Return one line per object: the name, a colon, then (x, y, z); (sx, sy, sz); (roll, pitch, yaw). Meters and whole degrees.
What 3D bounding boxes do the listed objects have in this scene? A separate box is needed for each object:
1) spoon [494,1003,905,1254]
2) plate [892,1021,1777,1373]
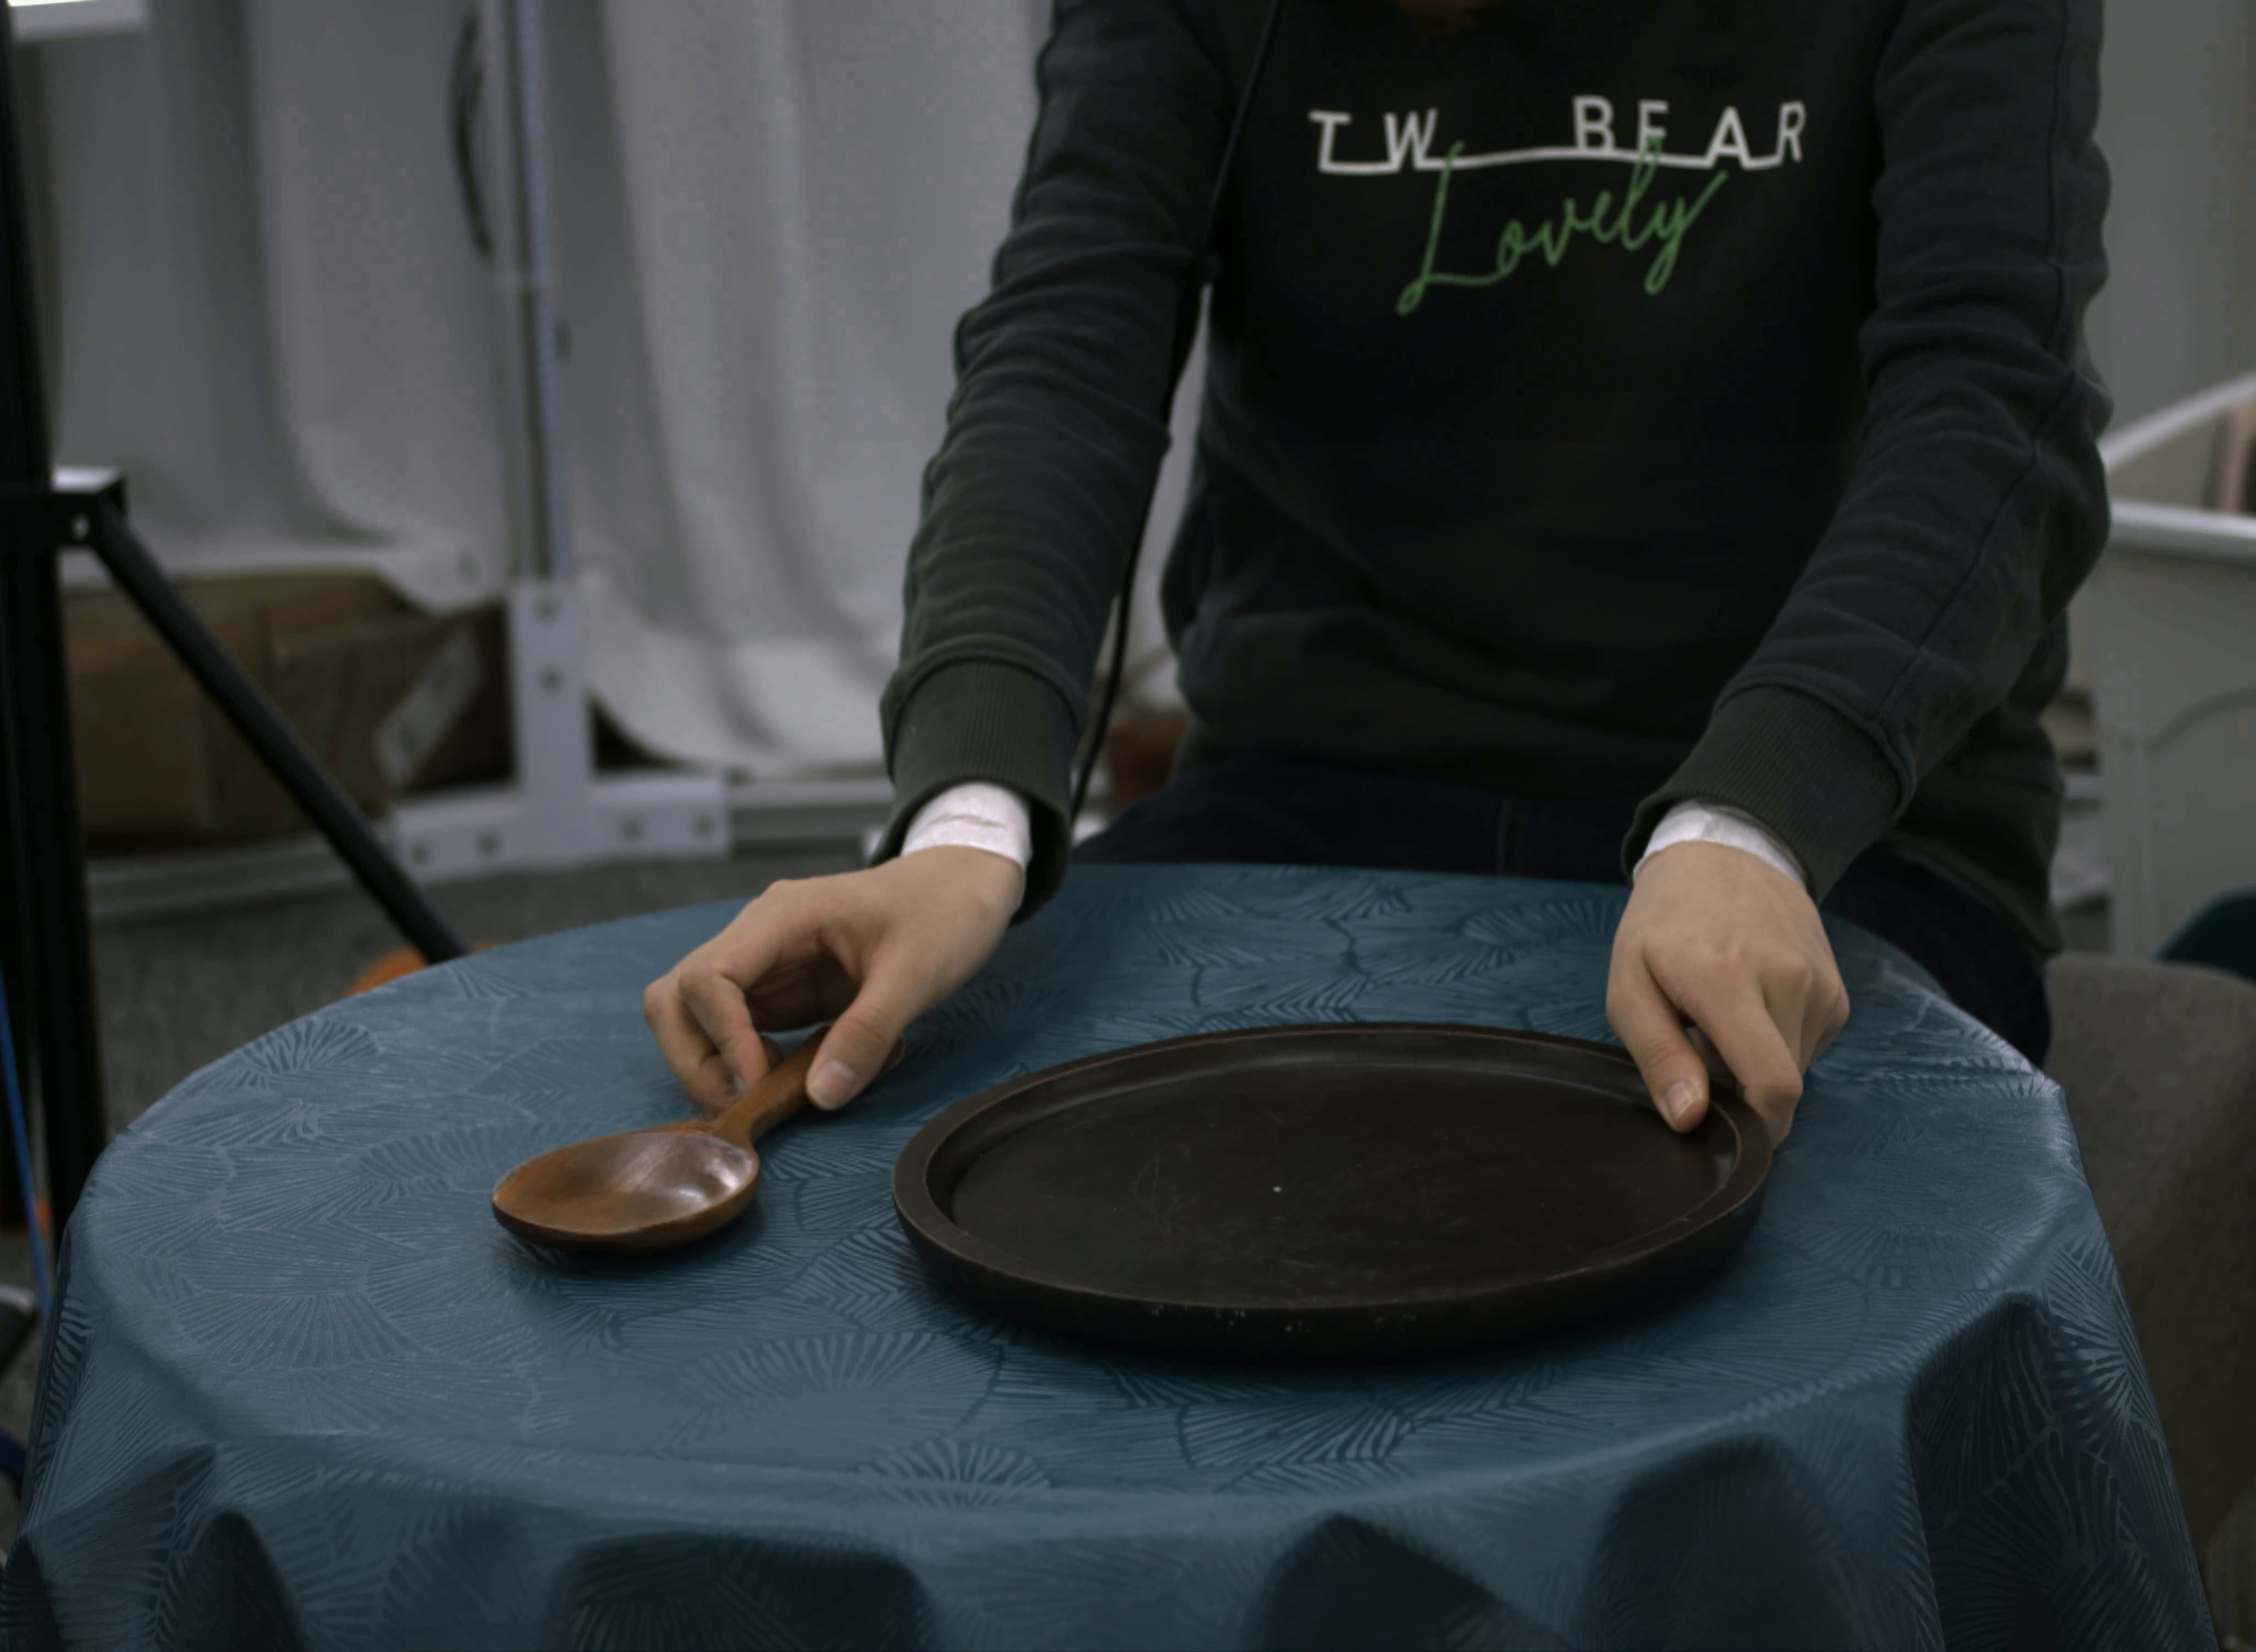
spoon: (-0.119, 0.092, 1.603); (0.076, 0.017, 0.213); (4, 17, 23)
plate: (0.059, 0.104, 1.516); (0.253, 0.029, 0.256); (-3, 16, 0)
